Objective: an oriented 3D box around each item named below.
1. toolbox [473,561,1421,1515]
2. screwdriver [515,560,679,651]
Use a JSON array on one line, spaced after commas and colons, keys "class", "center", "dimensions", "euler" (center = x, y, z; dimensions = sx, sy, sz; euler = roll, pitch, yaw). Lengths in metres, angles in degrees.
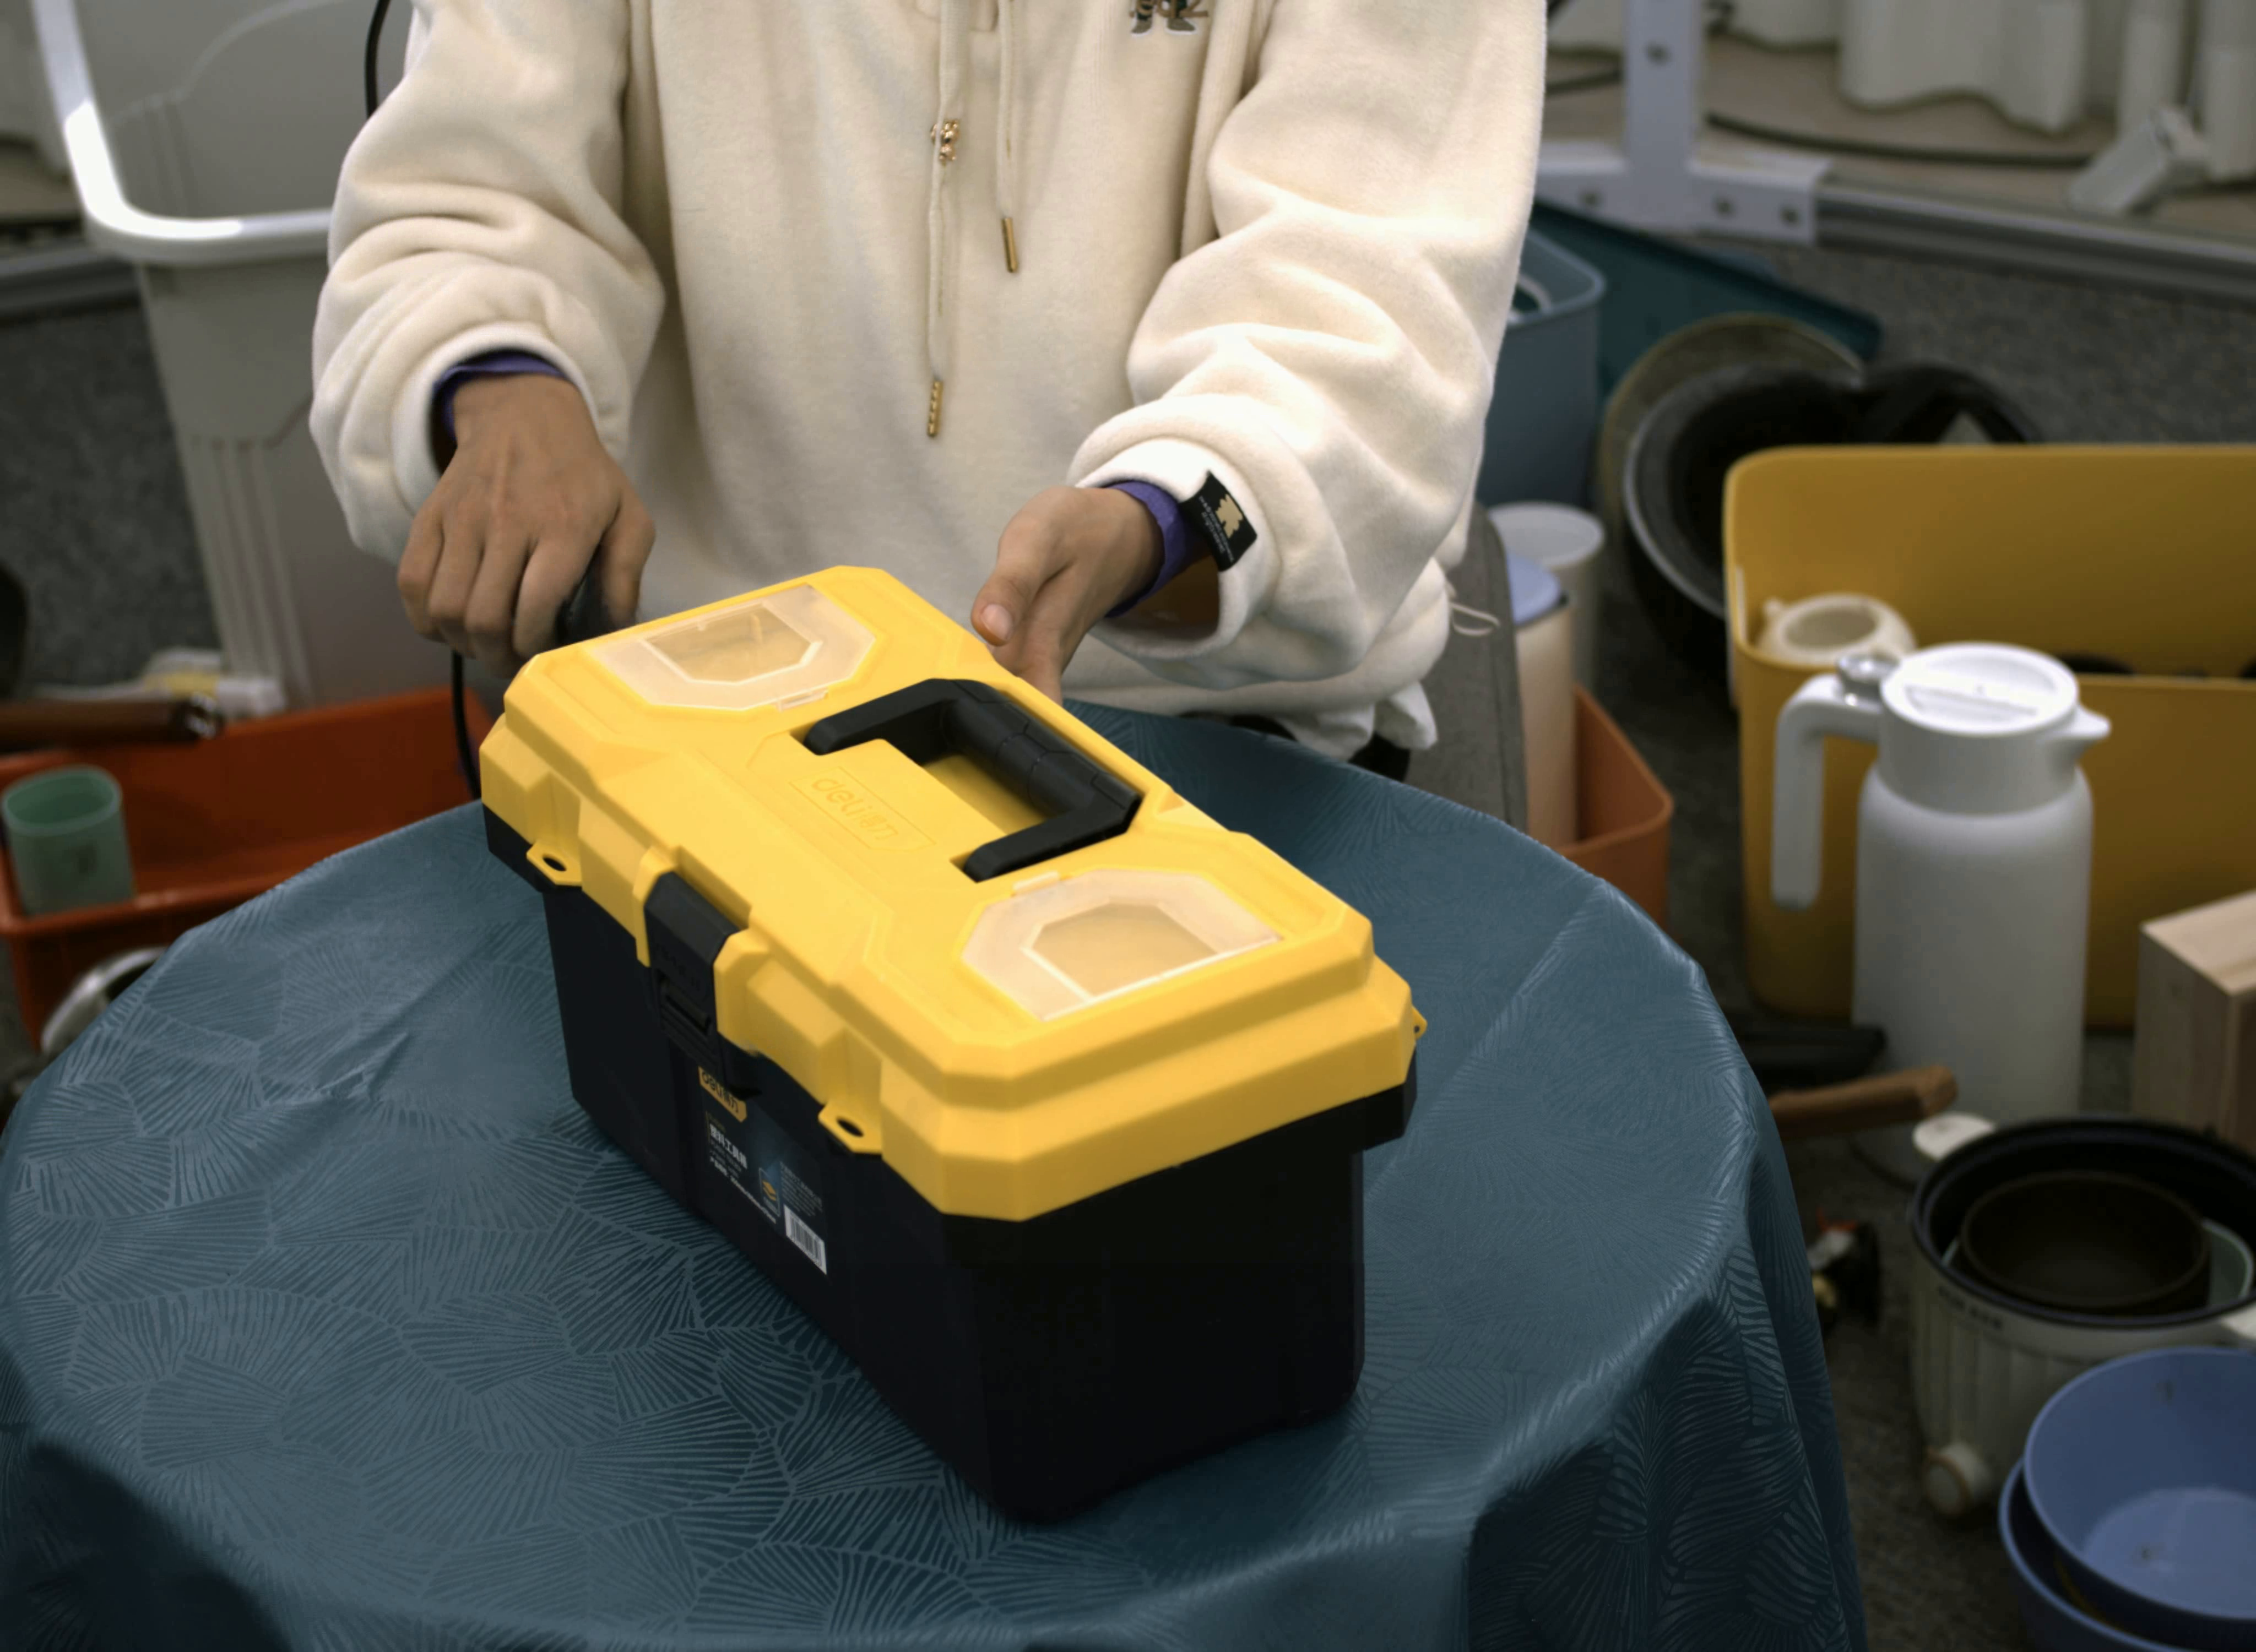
[{"class": "toolbox", "center": [-0.062, 0.061, 1.797], "dimensions": [0.182, 0.171, 0.353], "euler": [-17, 30, -26]}, {"class": "screwdriver", "center": [-0.186, -0.075, 1.987], "dimensions": [0.031, 0.031, 0.196], "euler": [-11, 8, -16]}]
